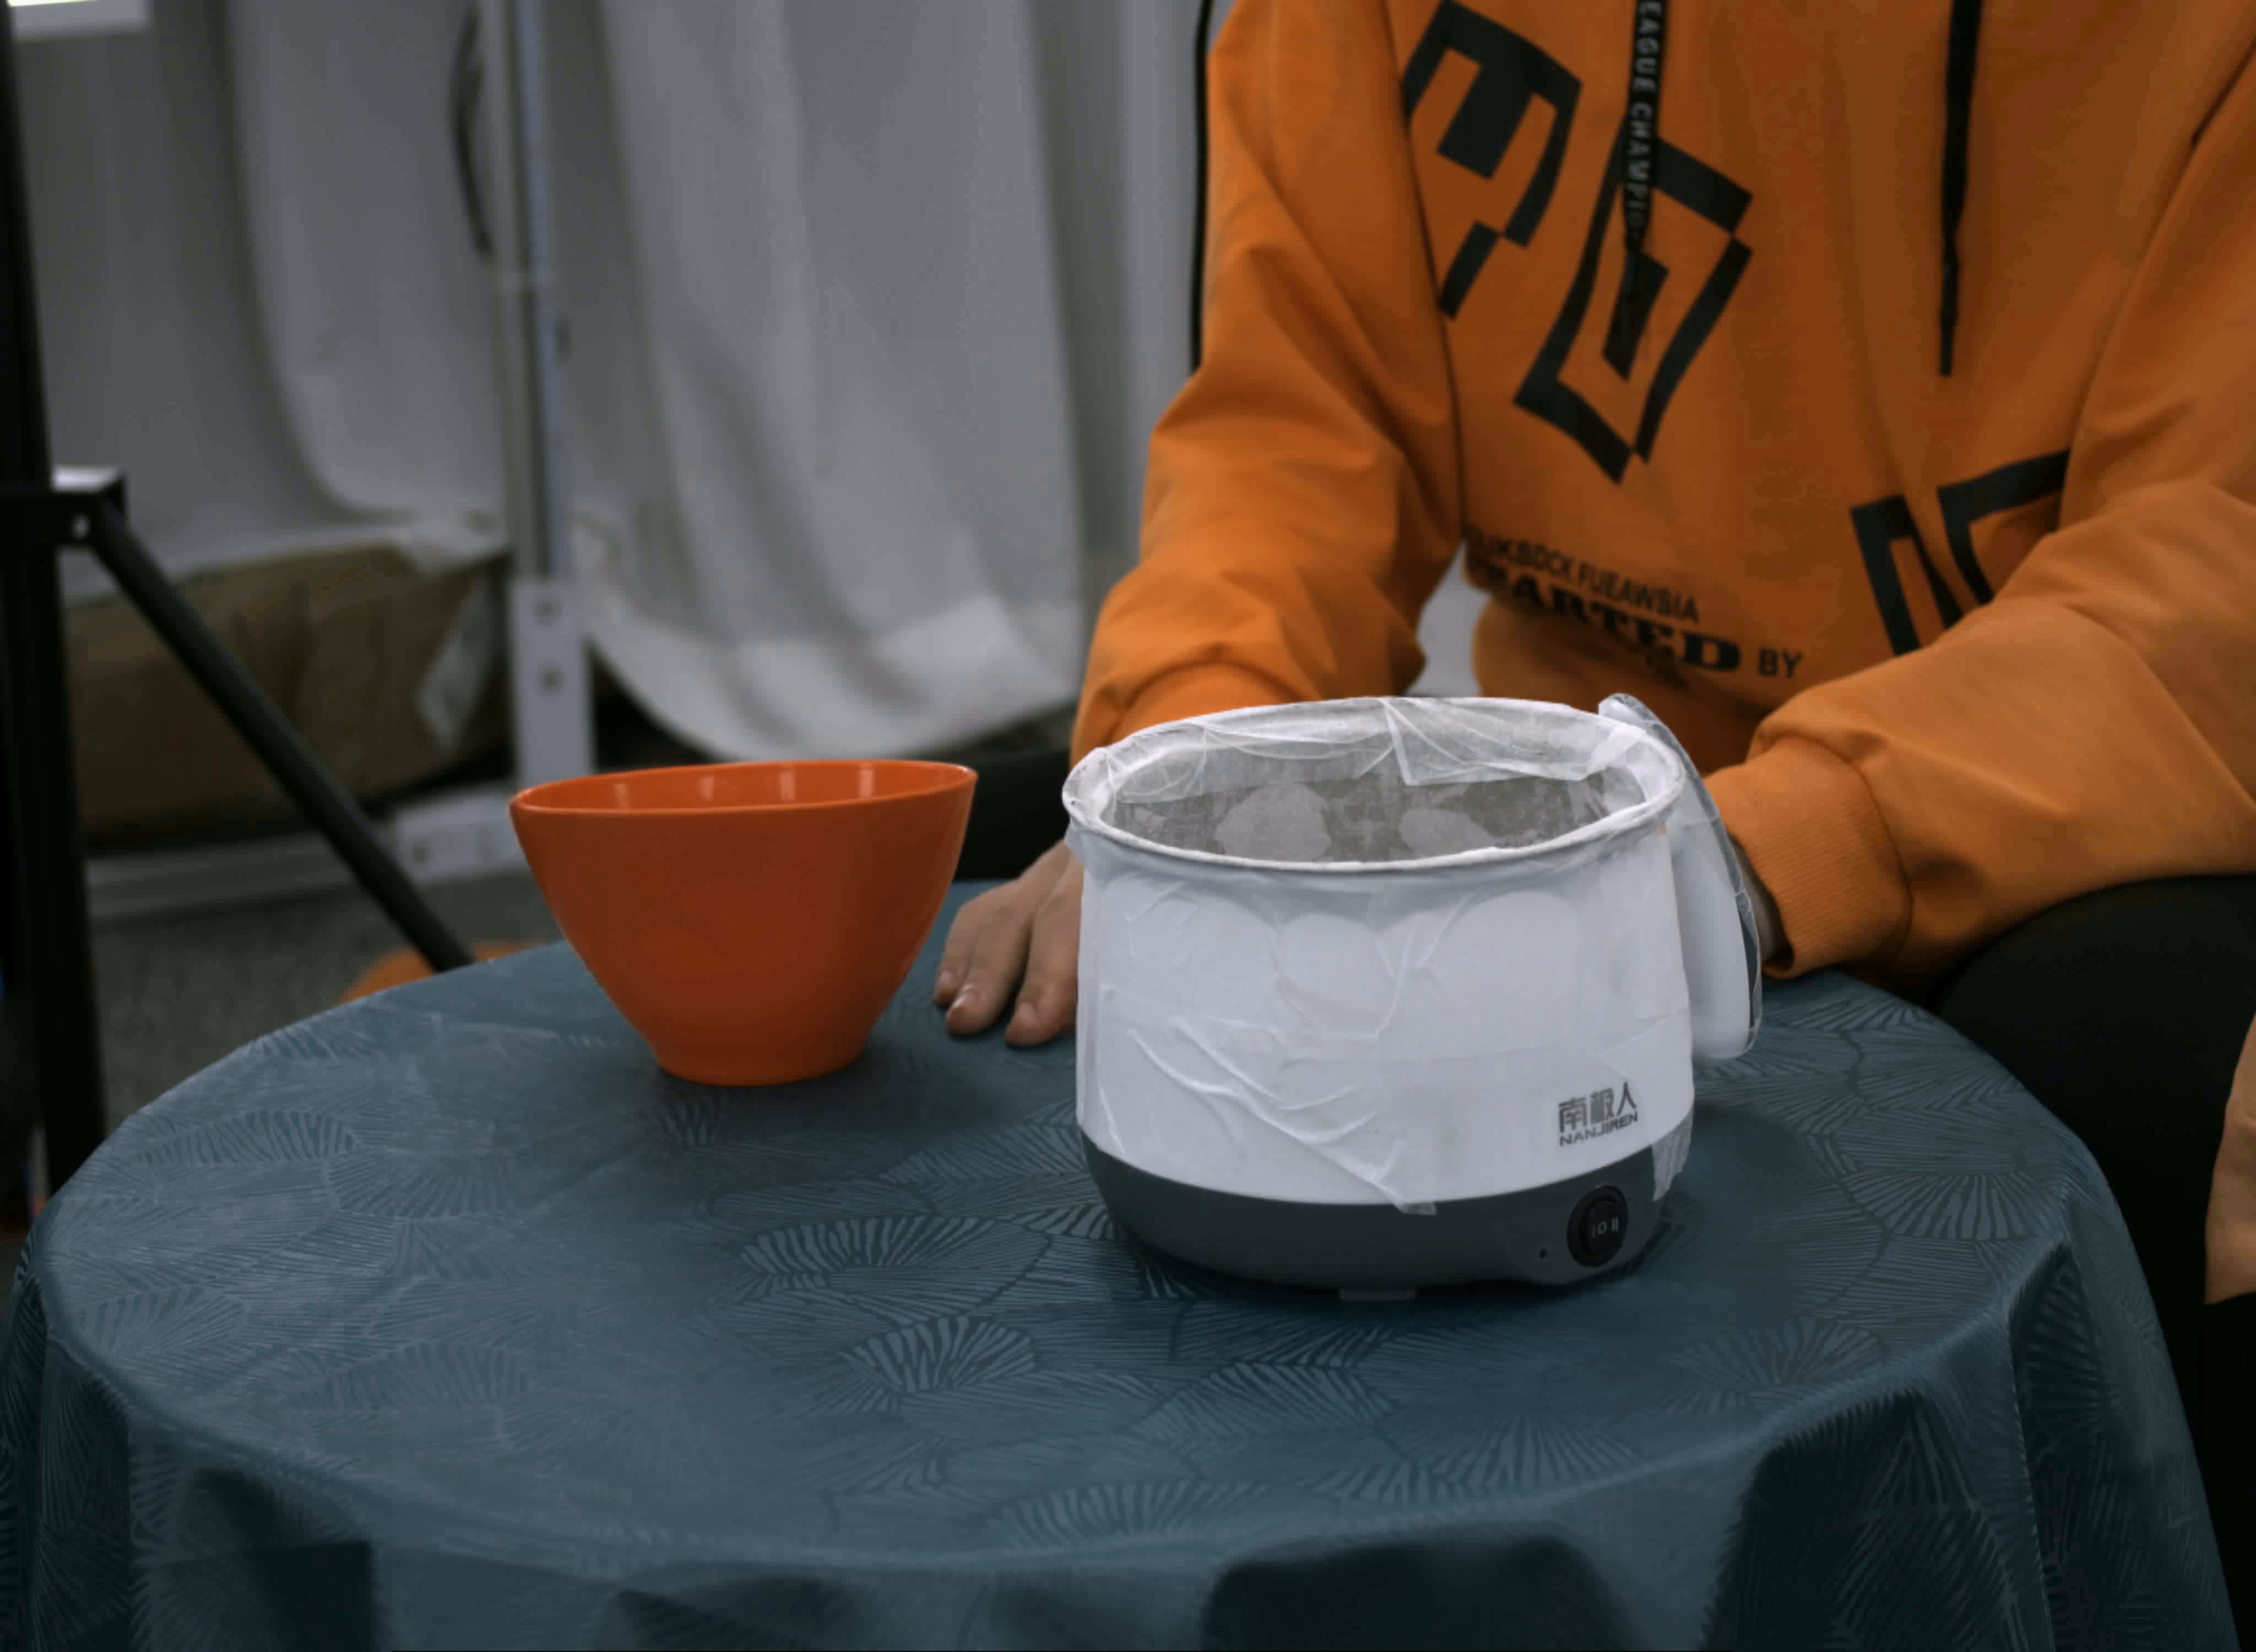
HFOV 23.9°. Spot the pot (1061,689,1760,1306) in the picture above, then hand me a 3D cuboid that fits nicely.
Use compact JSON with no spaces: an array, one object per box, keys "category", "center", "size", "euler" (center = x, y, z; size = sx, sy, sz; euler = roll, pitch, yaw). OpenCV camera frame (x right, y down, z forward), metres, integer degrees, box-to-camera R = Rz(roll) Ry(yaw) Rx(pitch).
[{"category":"pot","center":[0.092,0.041,1.525],"size":[0.228,0.136,0.183],"euler":[-16,21,-38]}]

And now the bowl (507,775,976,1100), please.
[{"category":"bowl","center":[-0.120,0.031,1.679],"size":[0.147,0.105,0.149],"euler":[-2,14,-1]}]
